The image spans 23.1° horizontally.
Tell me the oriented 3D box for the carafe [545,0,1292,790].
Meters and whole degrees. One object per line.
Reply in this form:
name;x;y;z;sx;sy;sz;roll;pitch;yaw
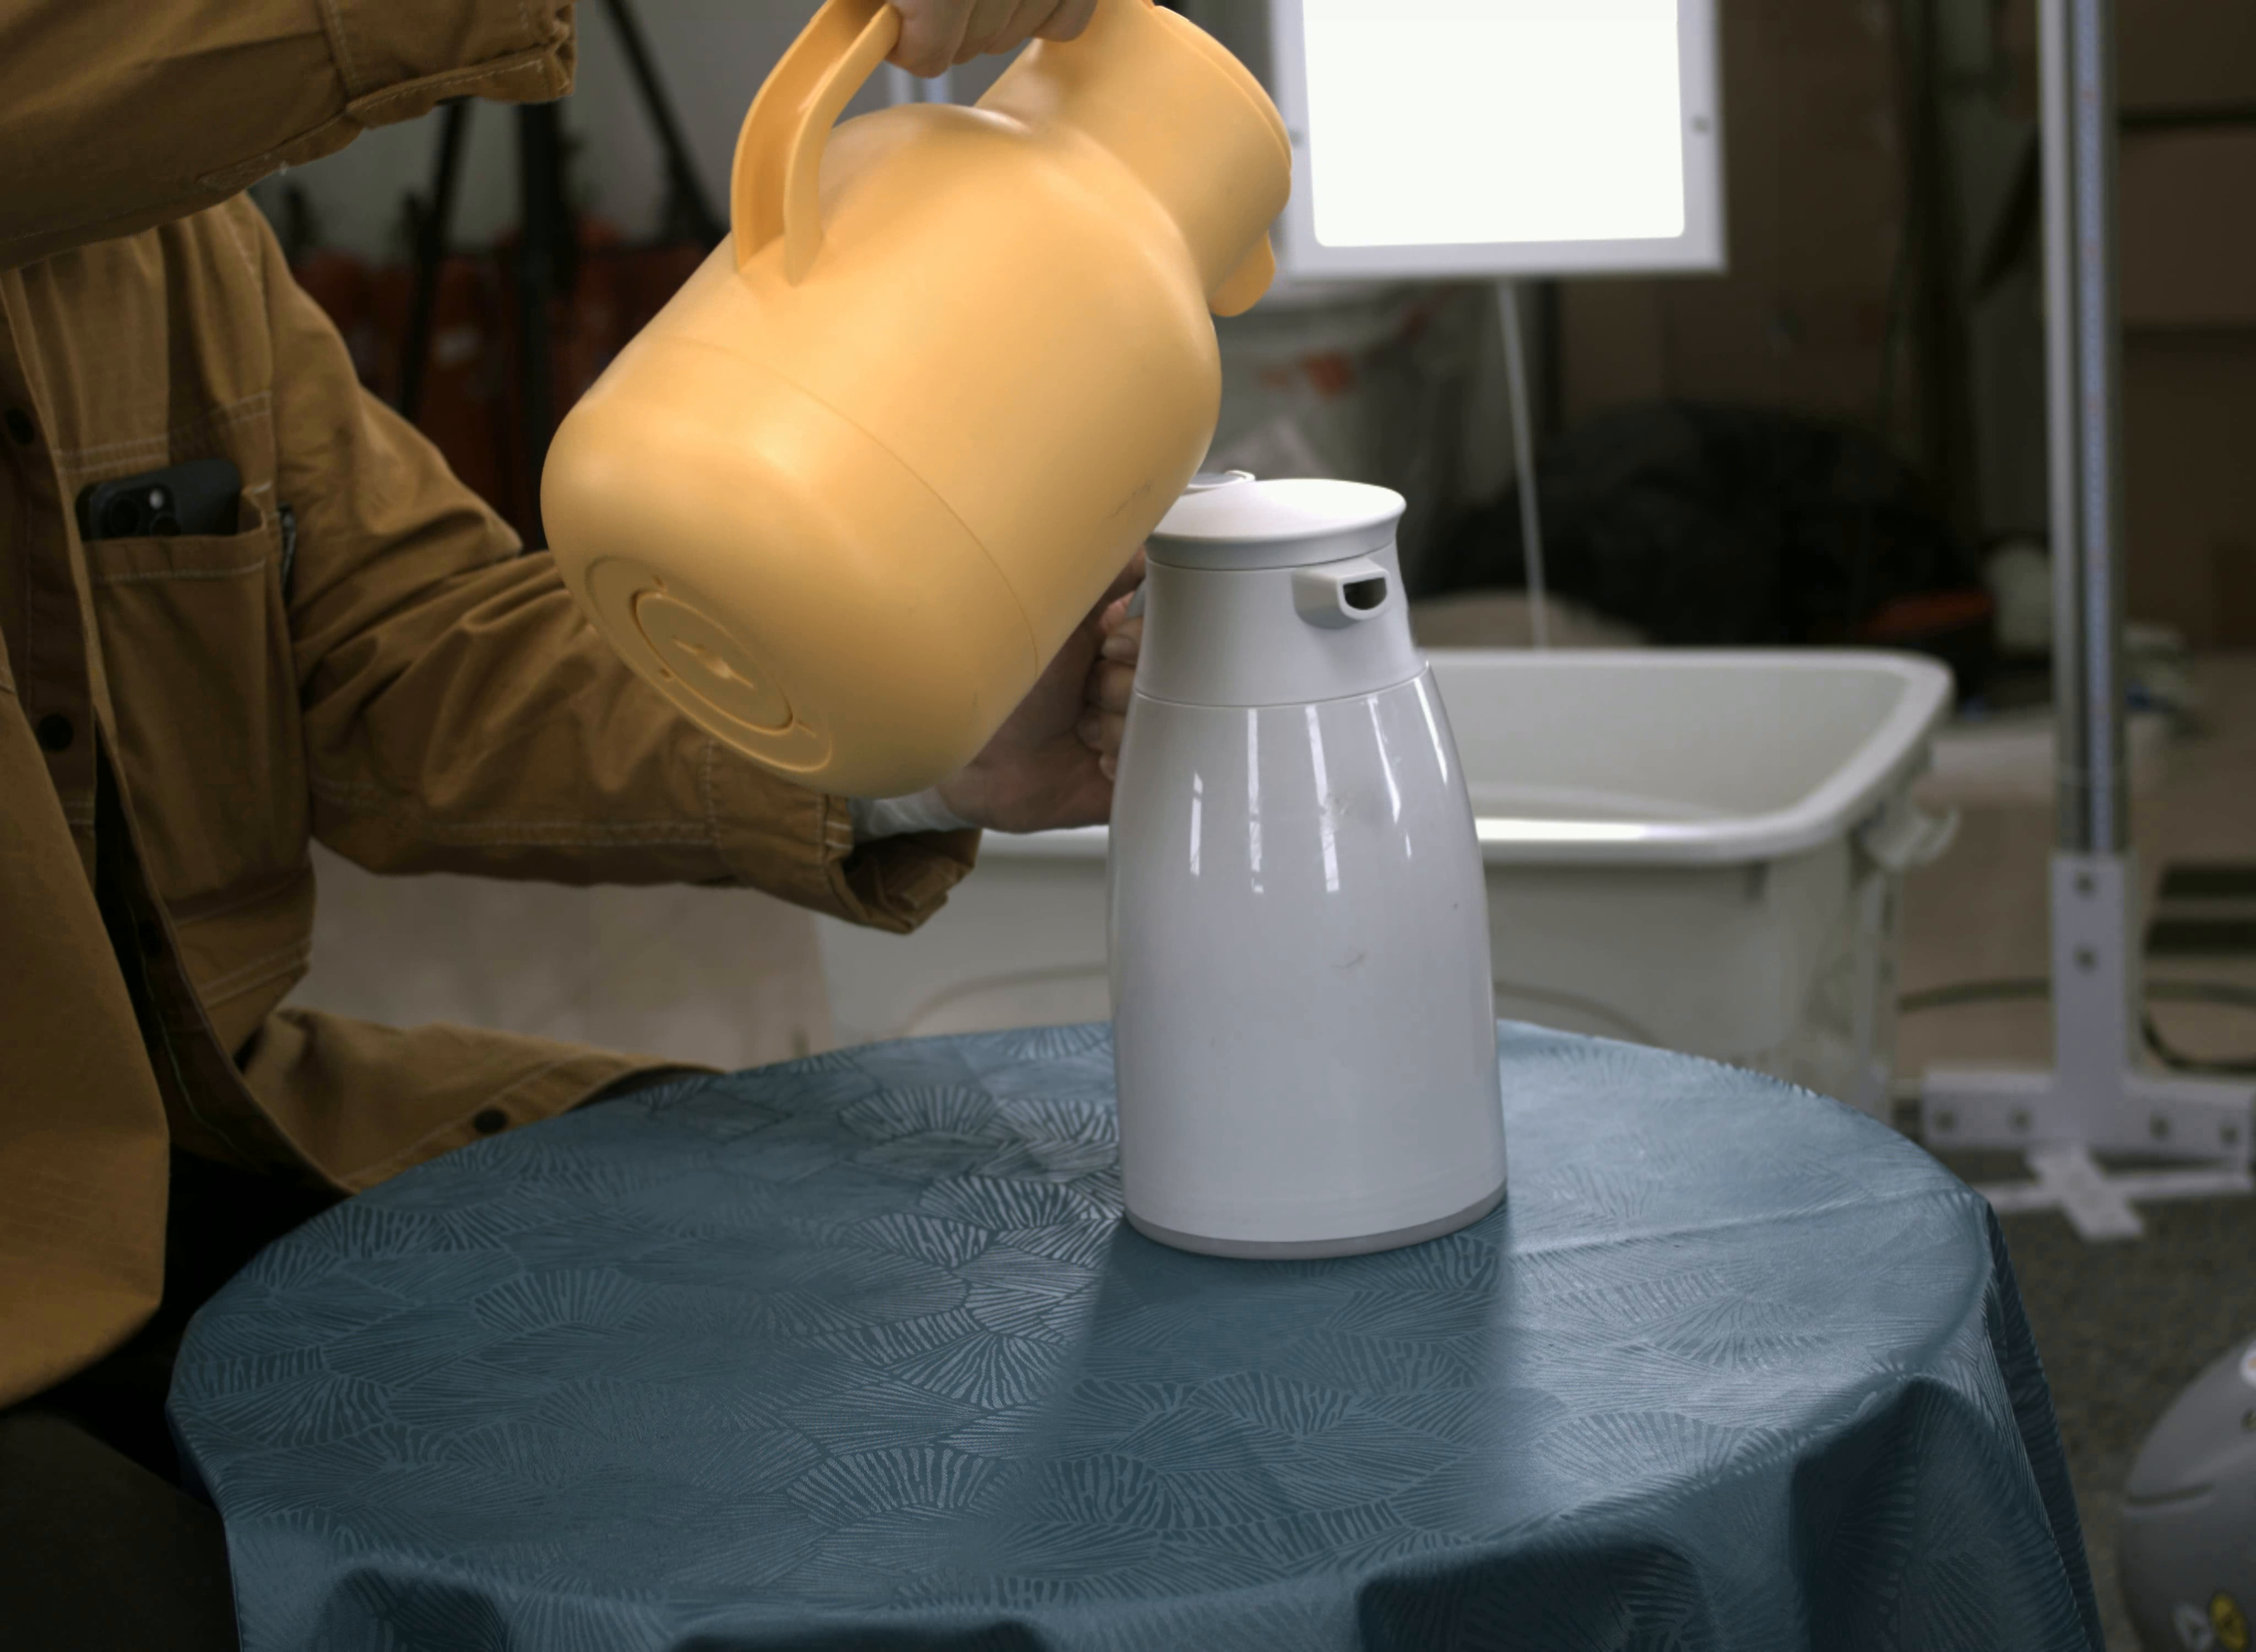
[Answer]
carafe;-0.062;-0.159;1.703;0.167;0.201;0.257;14;57;43

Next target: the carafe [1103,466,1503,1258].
carafe;0.044;0.004;1.860;0.130;0.249;0.170;-11;15;-26
